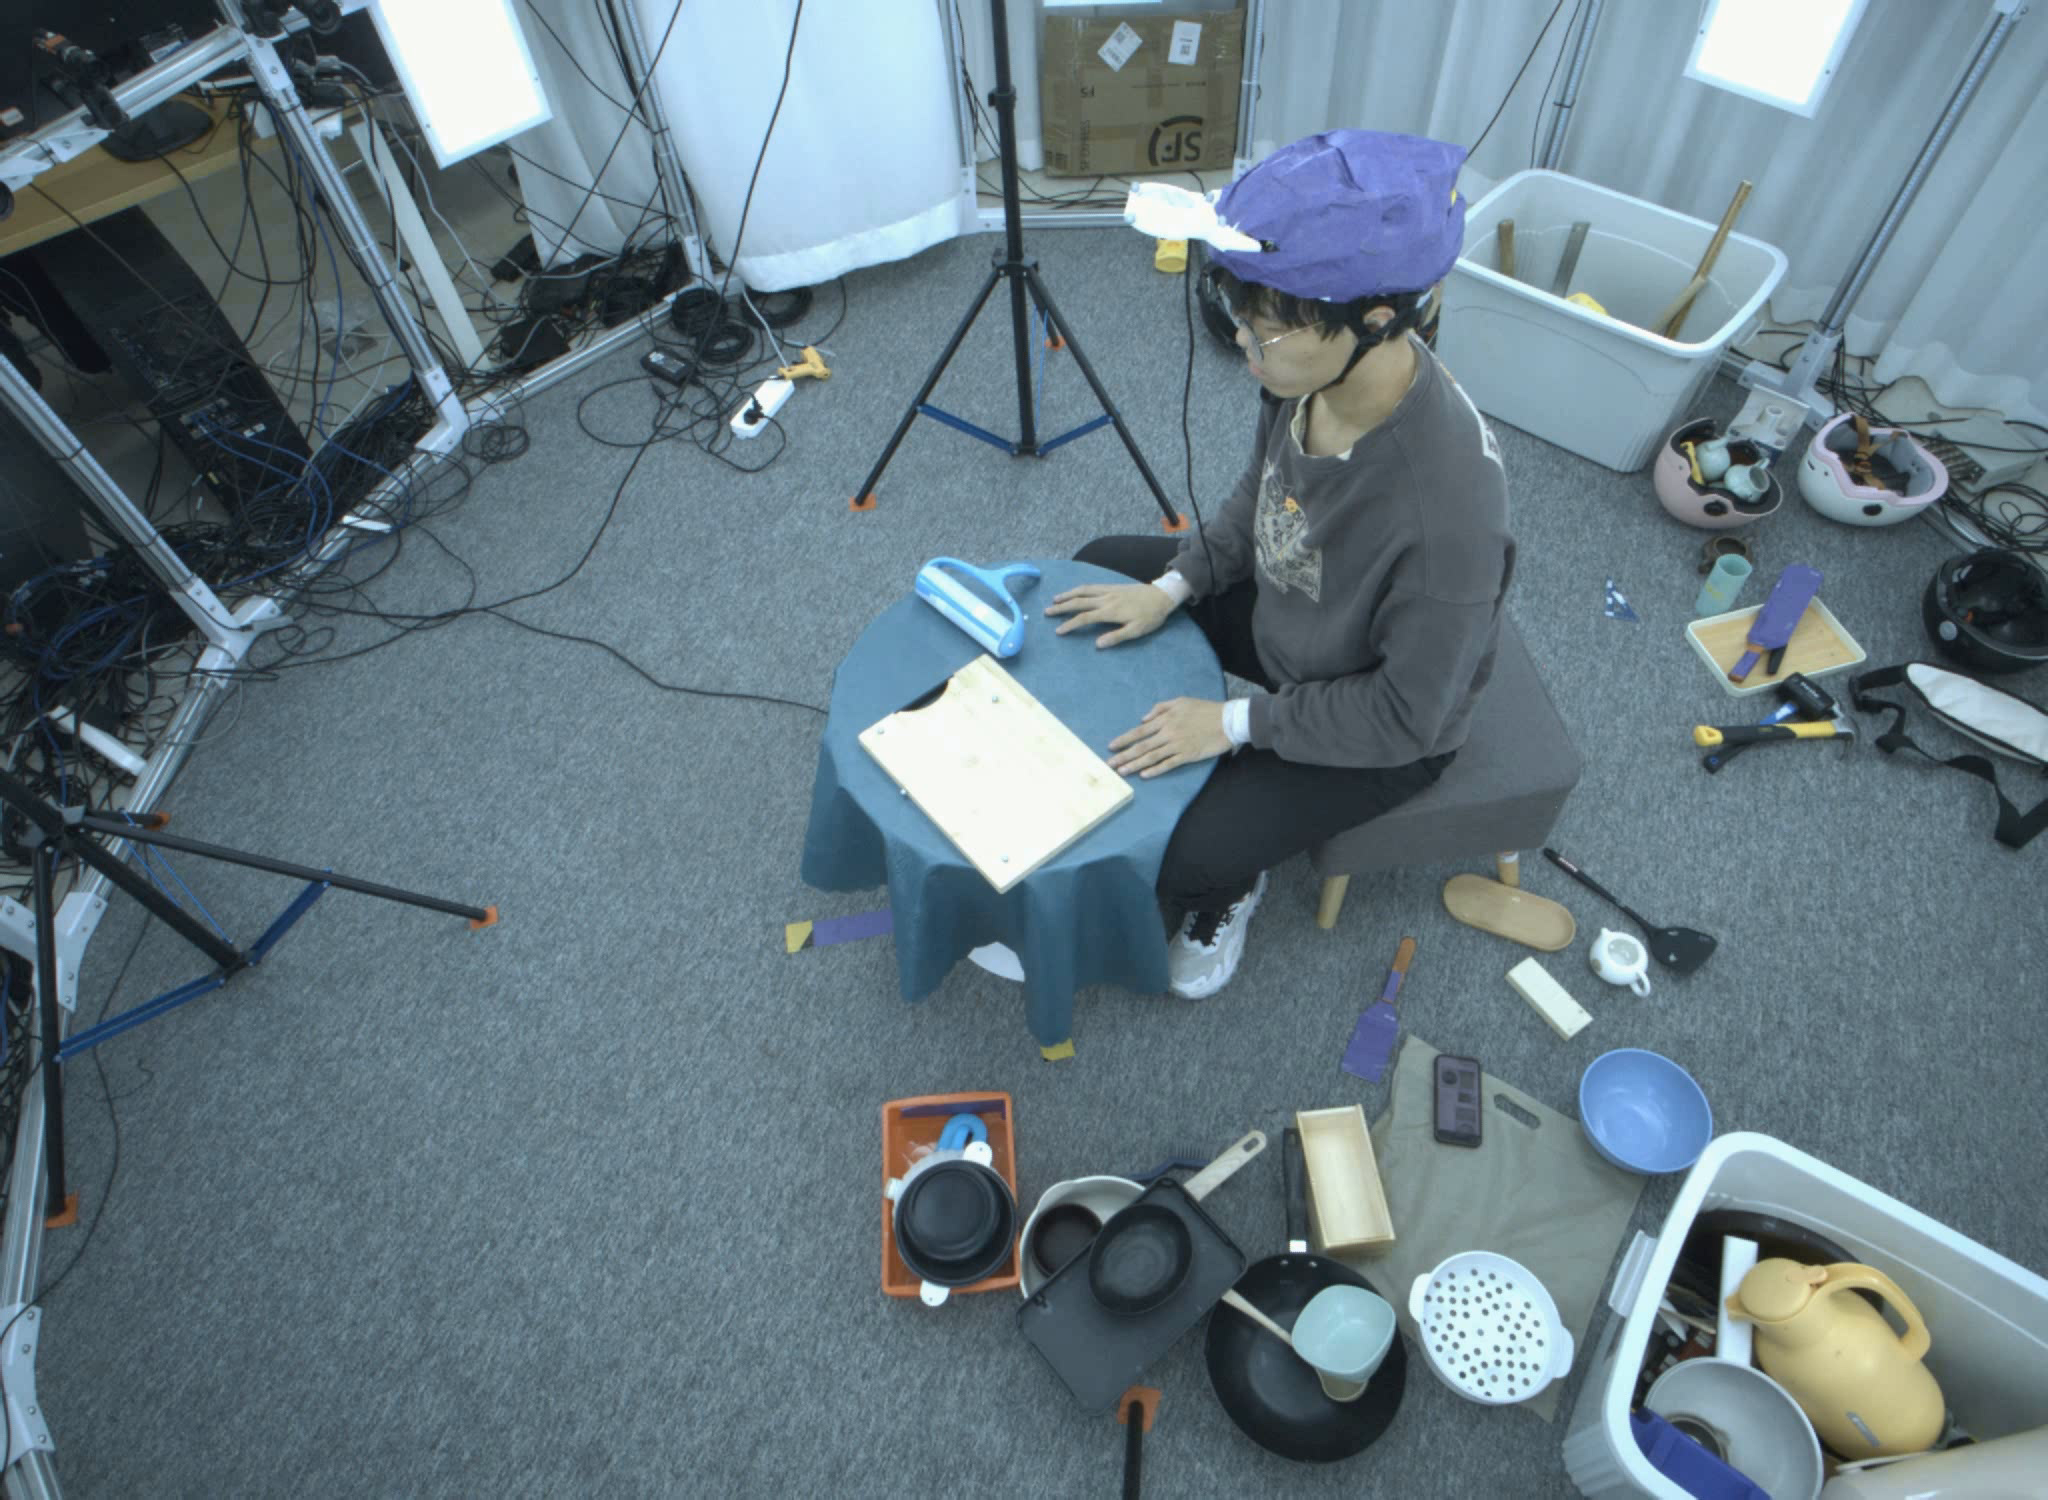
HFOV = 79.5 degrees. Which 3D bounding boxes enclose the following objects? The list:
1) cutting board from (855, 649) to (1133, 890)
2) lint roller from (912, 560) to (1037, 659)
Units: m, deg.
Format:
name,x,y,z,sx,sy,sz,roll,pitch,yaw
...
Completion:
name,x,y,z,sx,sy,sz,roll,pitch,yaw
cutting board,-0.048,0.019,1.763,0.253,0.024,0.342,-35,60,-22
lint roller,-0.051,-0.251,1.932,0.225,0.069,0.181,35,63,25
